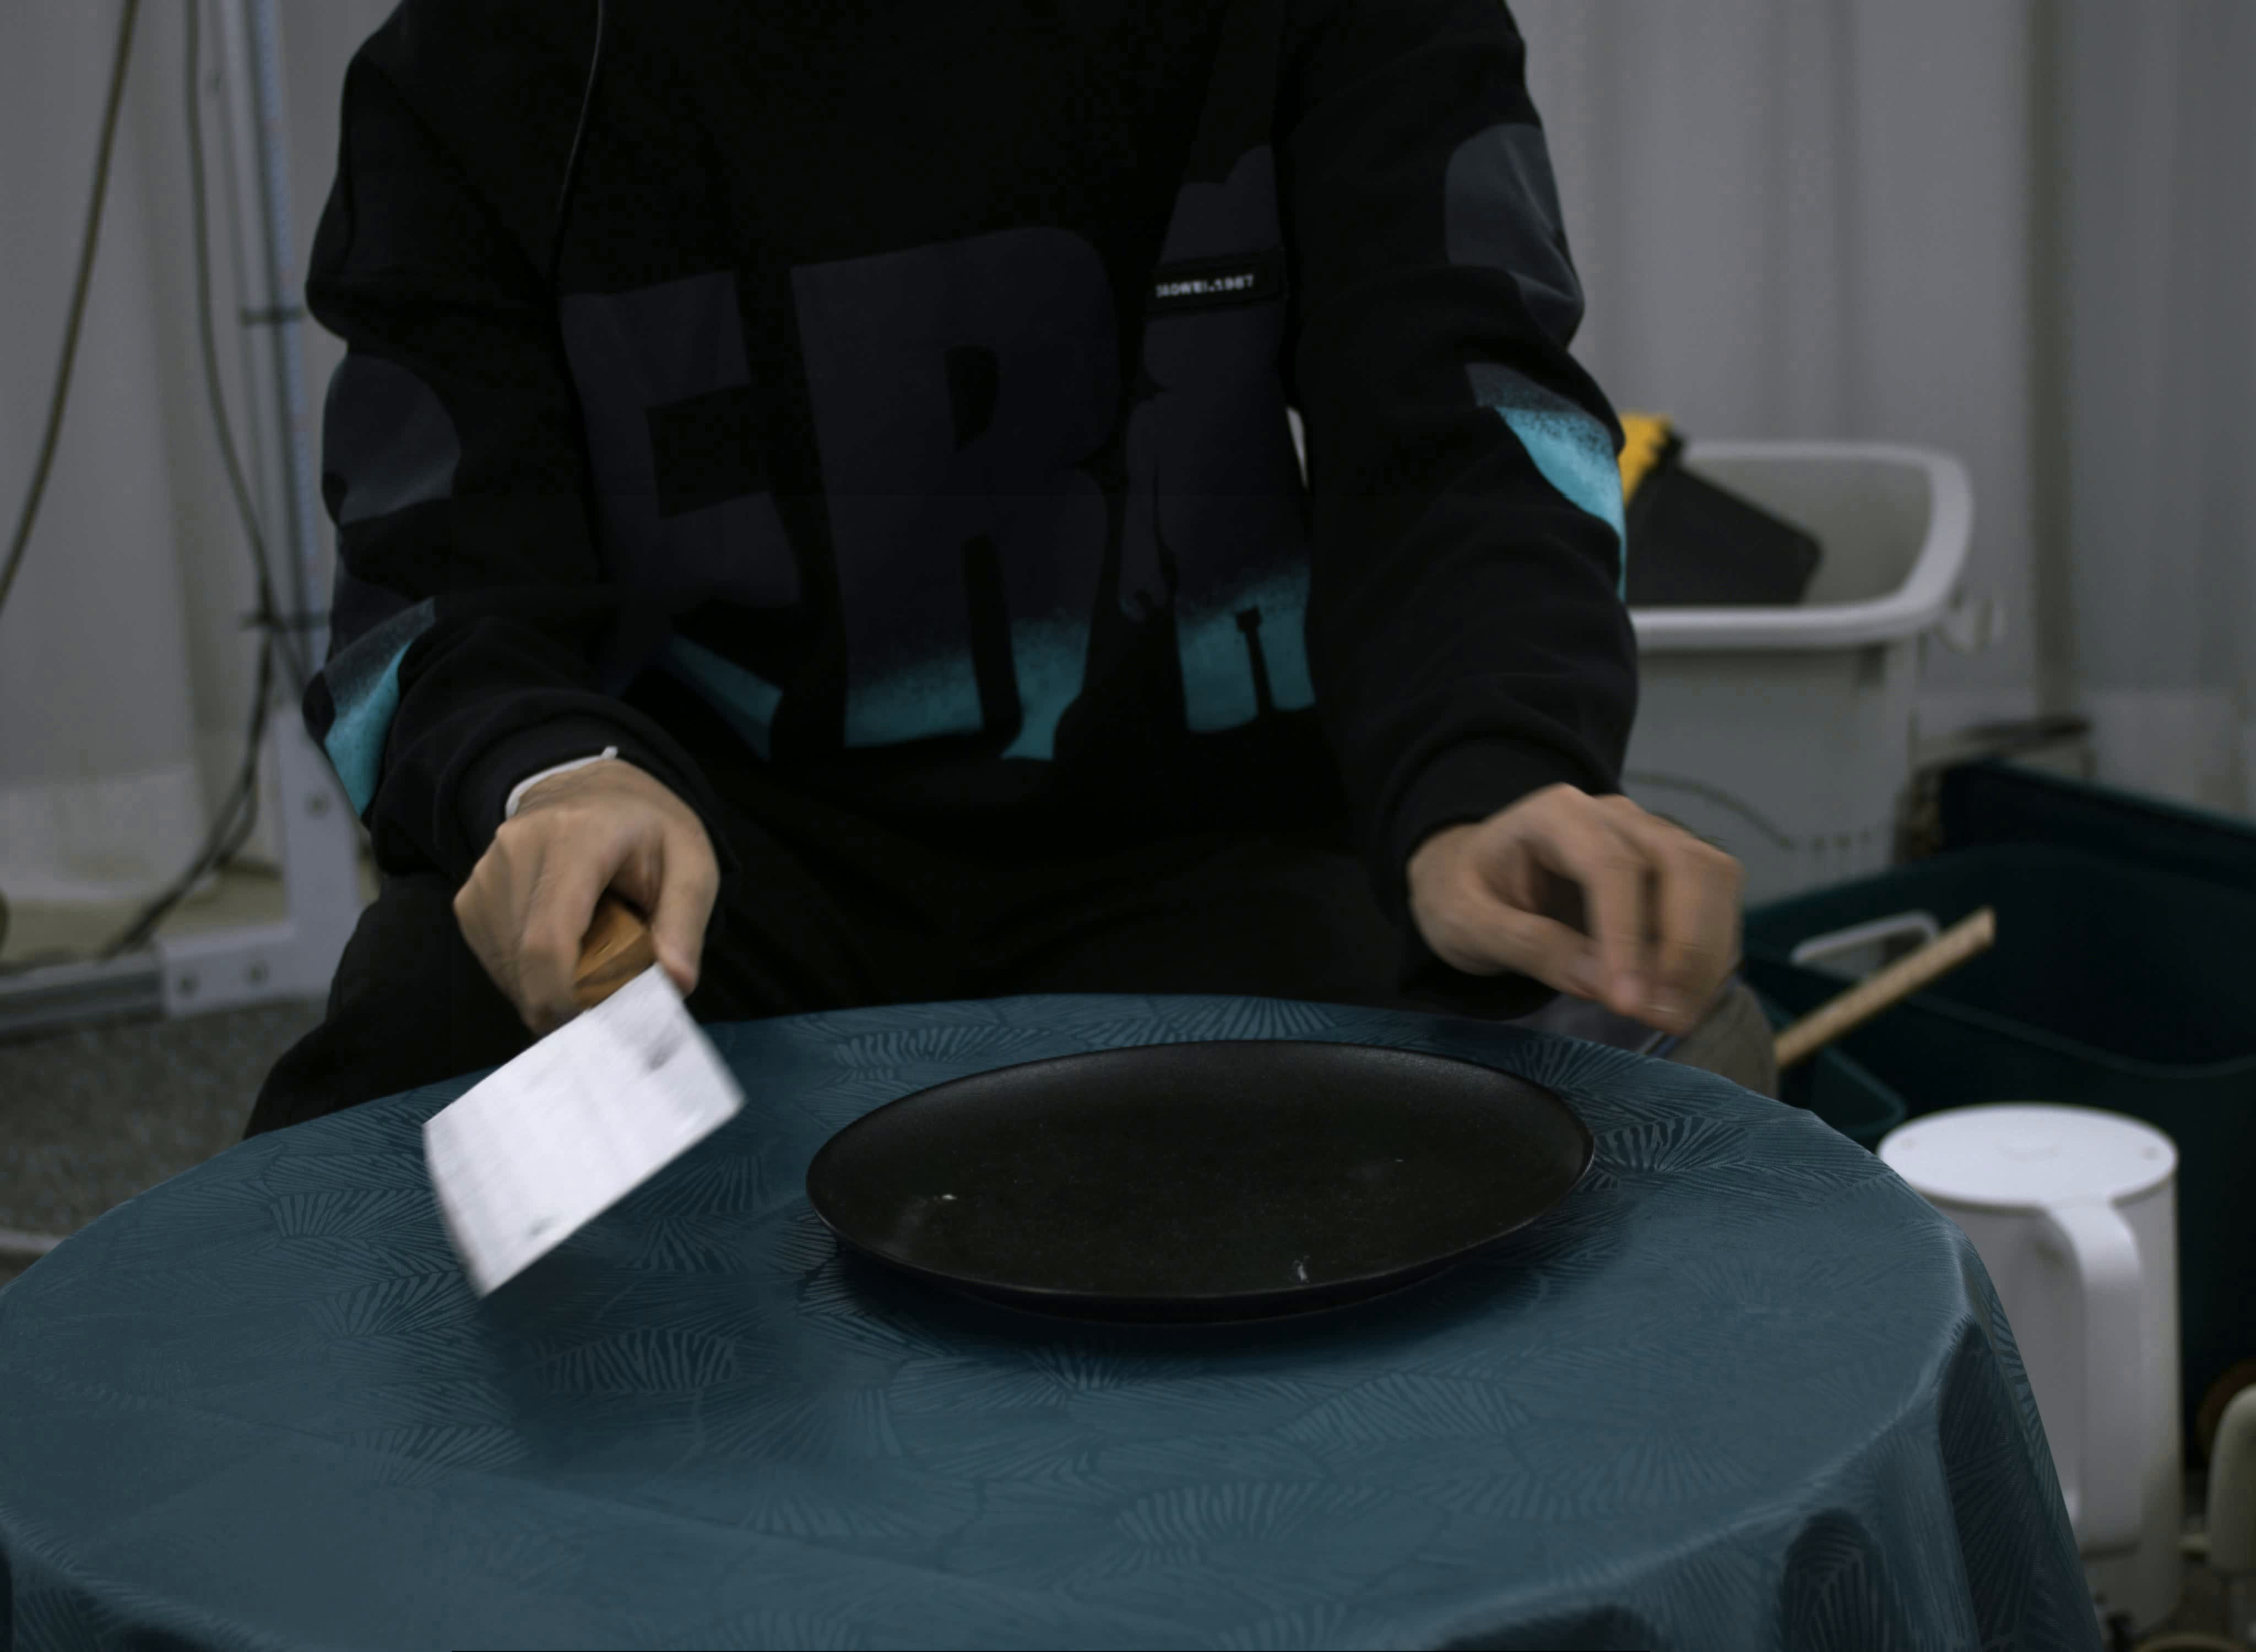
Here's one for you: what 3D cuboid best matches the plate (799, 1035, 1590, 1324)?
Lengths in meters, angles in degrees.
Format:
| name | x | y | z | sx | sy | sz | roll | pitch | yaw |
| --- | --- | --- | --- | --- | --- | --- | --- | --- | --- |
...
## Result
| name | x | y | z | sx | sy | sz | roll | pitch | yaw |
| --- | --- | --- | --- | --- | --- | --- | --- | --- | --- |
| plate | 0.021 | 0.111 | 1.677 | 0.243 | 0.023 | 0.246 | -3 | 15 | 0 |

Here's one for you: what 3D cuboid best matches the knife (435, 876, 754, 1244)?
| name | x | y | z | sx | sy | sz | roll | pitch | yaw |
| --- | --- | --- | --- | --- | --- | --- | --- | --- | --- |
| knife | -0.172 | 0.072 | 1.671 | 0.093 | 0.021 | 0.308 | -38 | 16 | -4 |
